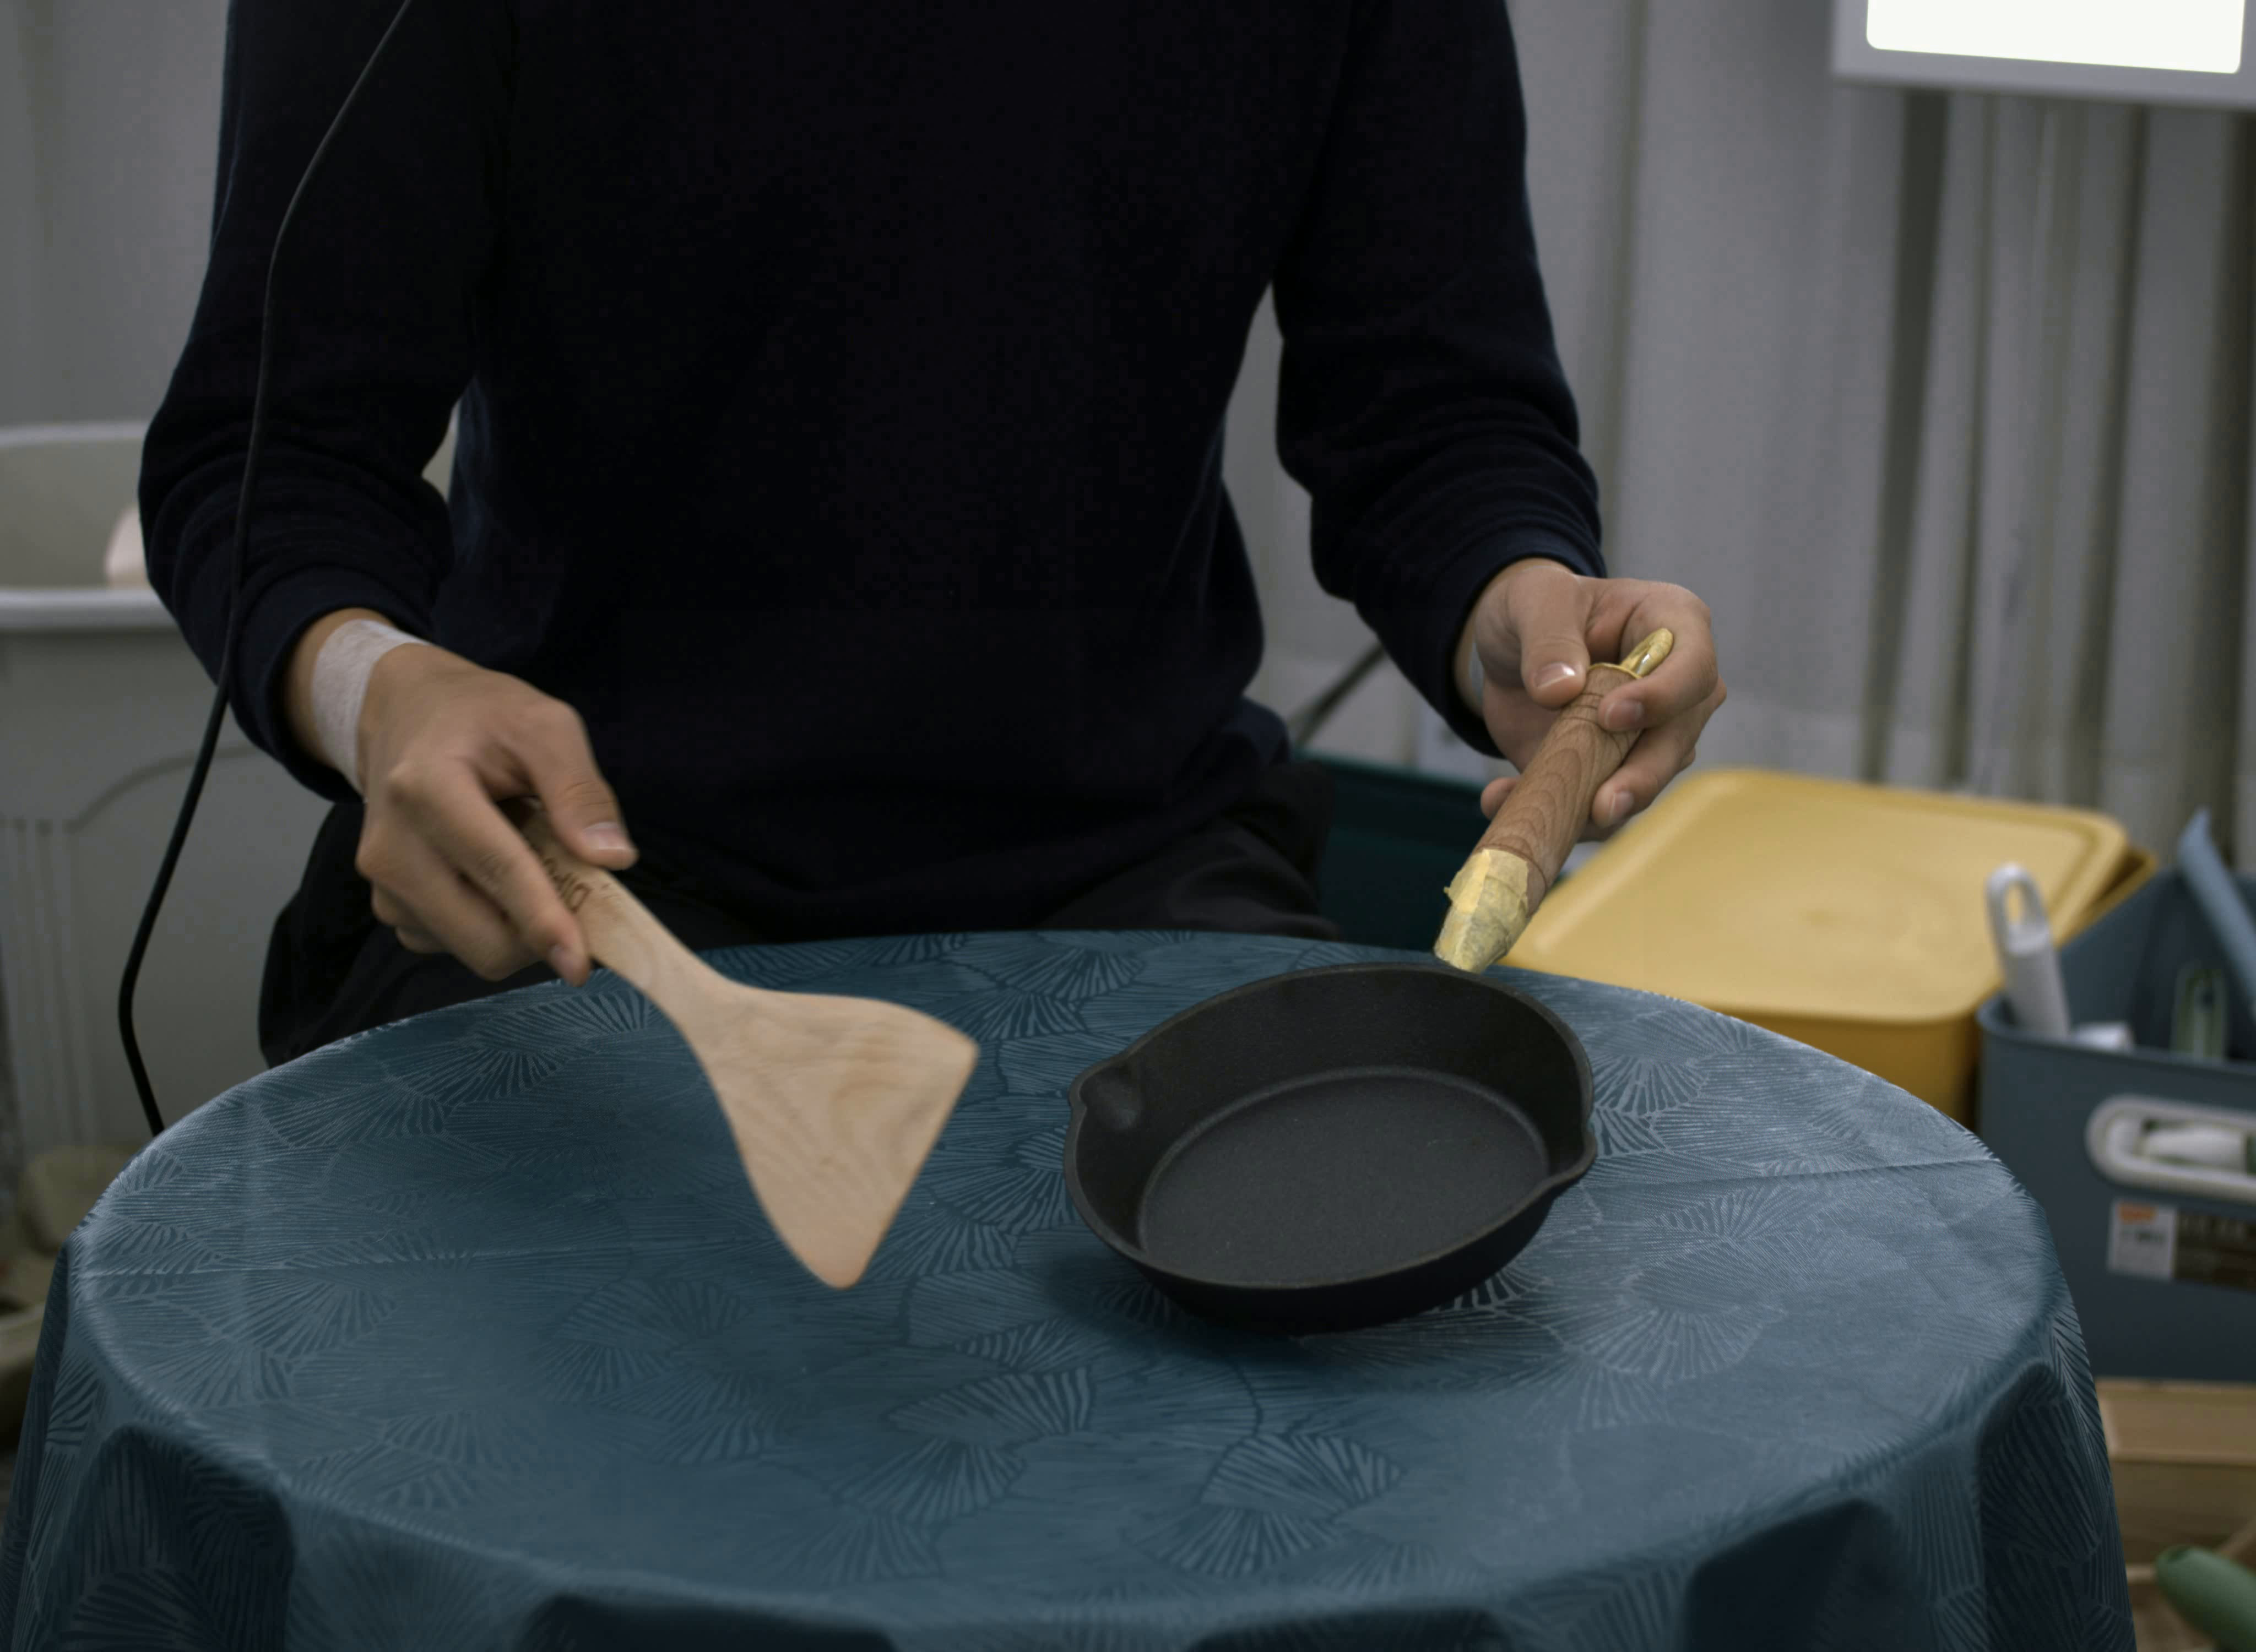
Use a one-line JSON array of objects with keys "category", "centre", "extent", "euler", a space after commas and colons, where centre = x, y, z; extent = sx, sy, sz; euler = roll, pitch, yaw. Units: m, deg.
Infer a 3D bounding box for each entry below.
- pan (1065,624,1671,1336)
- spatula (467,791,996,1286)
[{"category": "pan", "centre": [0.099, 0.043, 1.597], "extent": [0.167, 0.050, 0.323], "euler": [9, 40, 29]}, {"category": "spatula", "centre": [-0.127, 0.045, 1.543], "extent": [0.017, 0.080, 0.323], "euler": [35, -1, -36]}]
